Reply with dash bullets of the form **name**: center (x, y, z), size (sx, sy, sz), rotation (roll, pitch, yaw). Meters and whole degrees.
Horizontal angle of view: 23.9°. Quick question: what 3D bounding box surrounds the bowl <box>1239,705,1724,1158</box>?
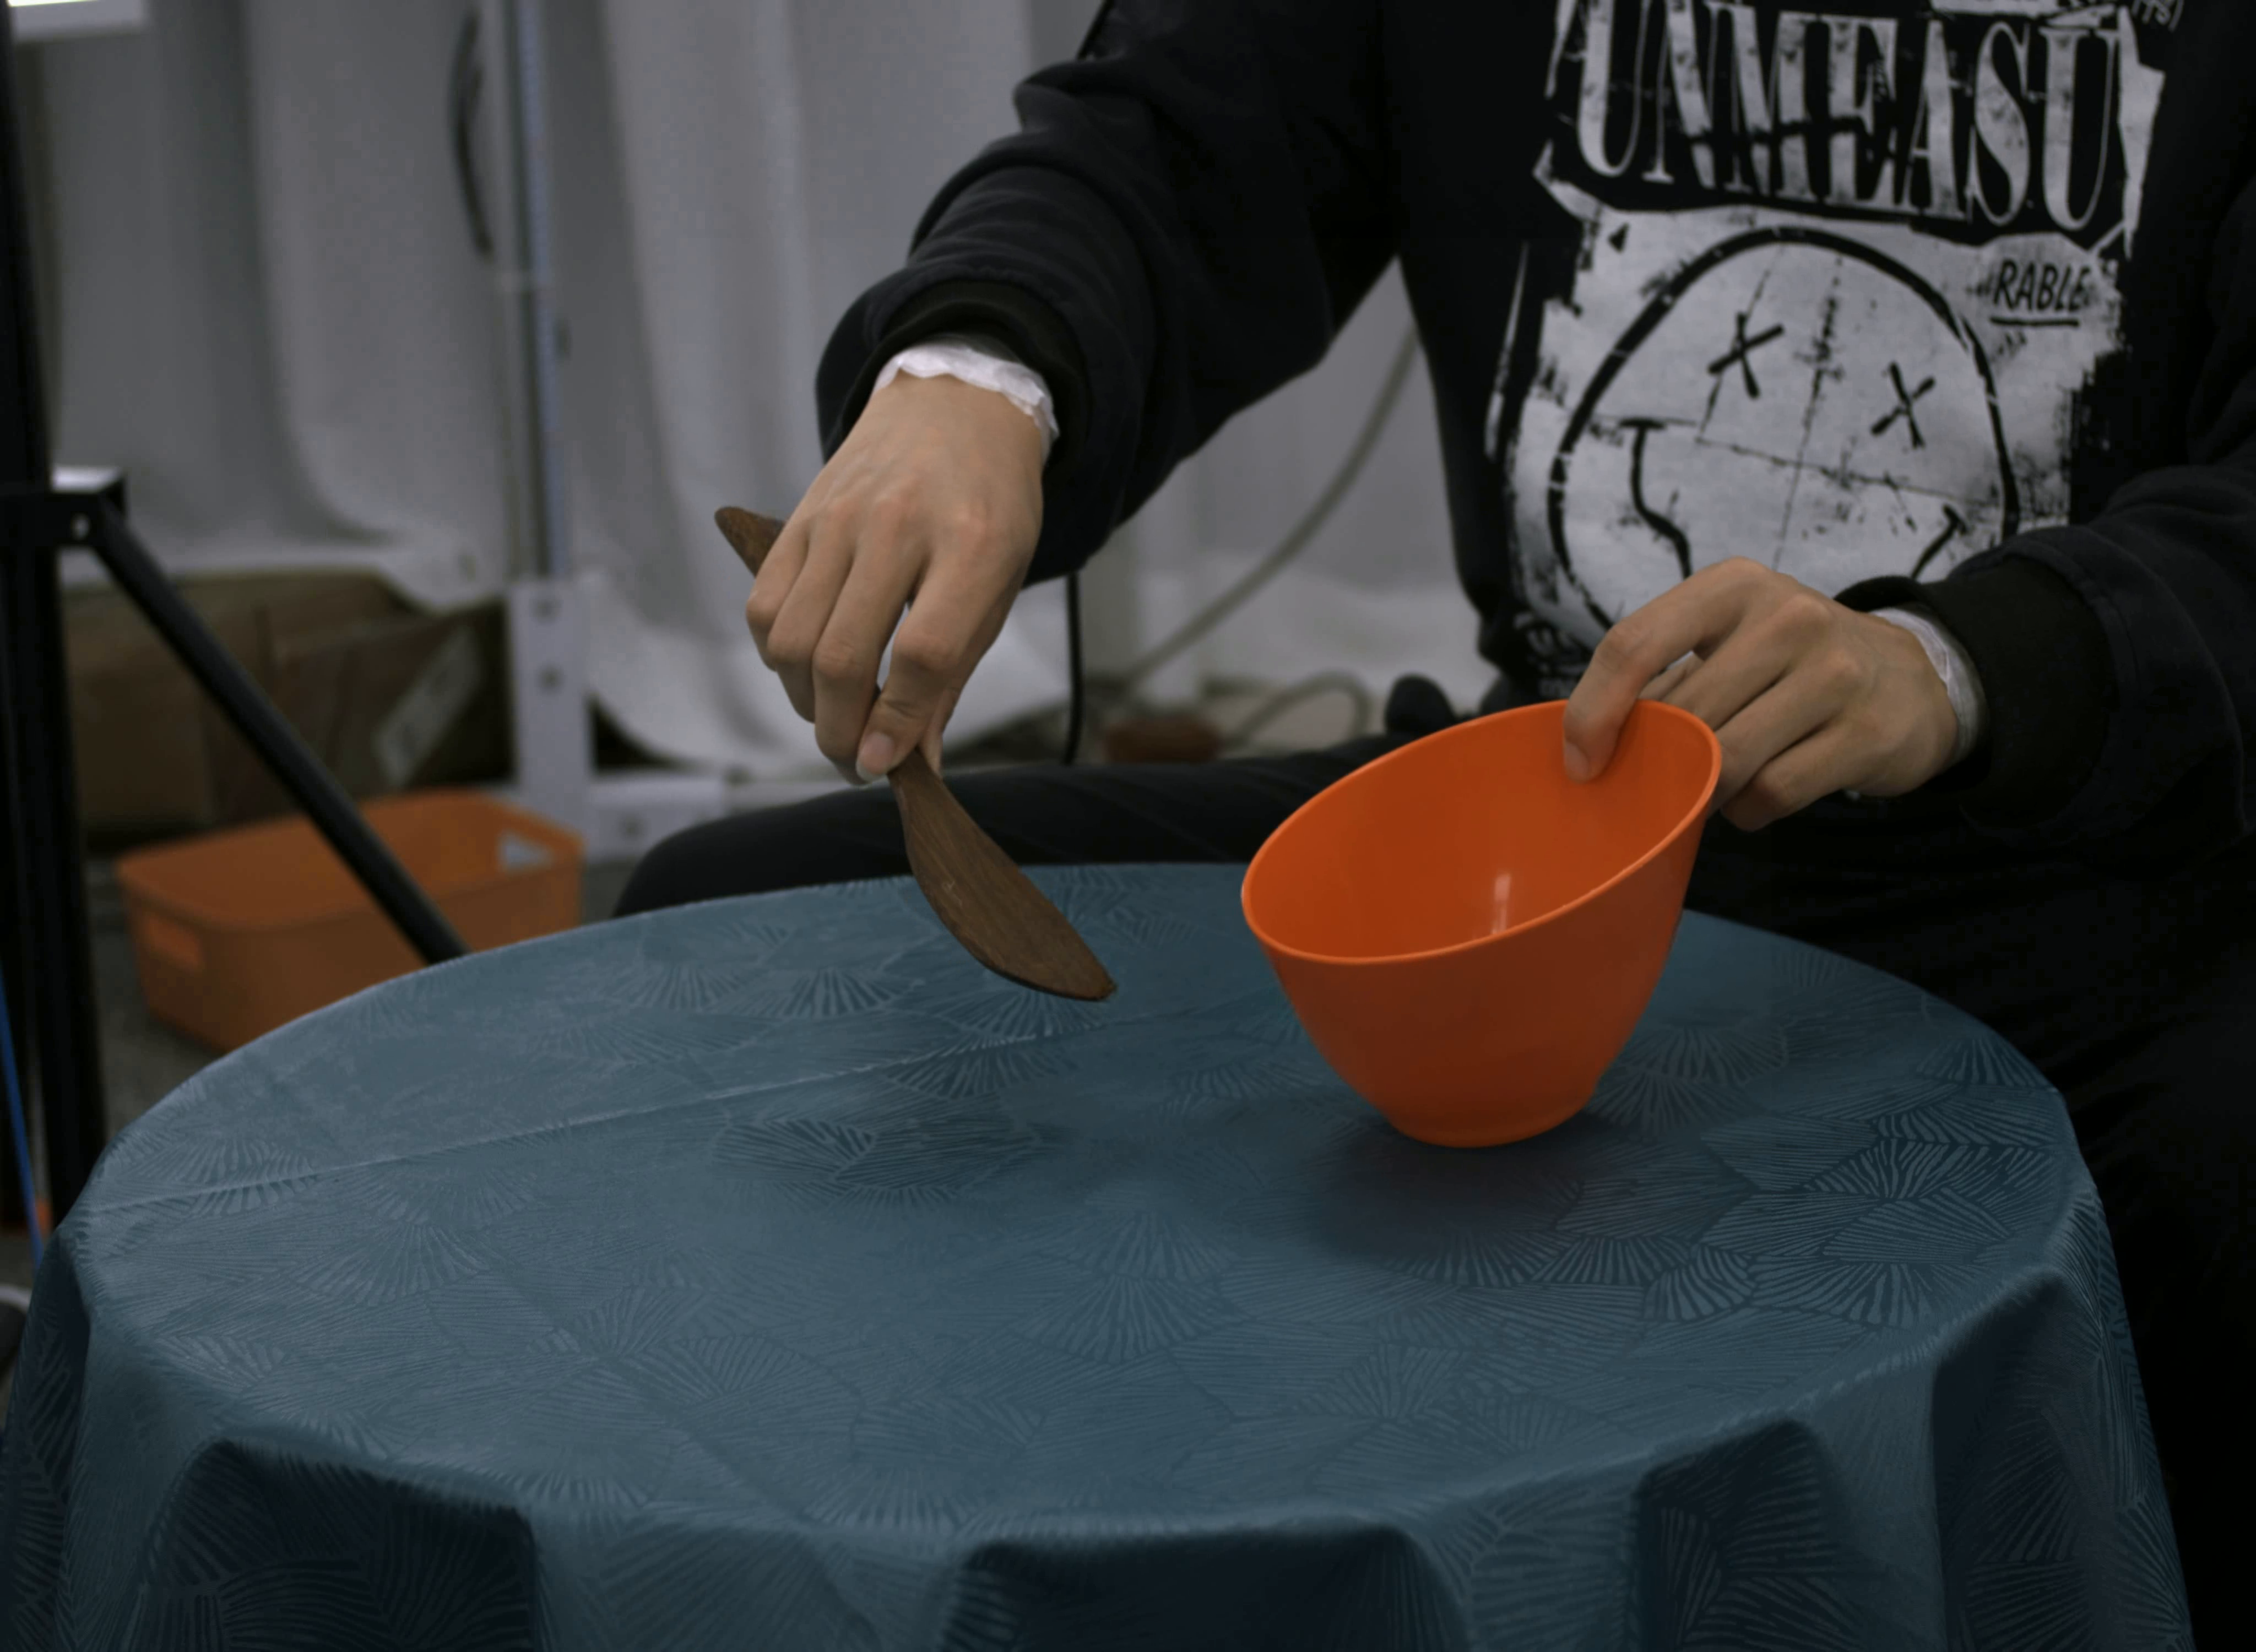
- **bowl**: center (0.110, 0.038, 1.575), size (0.148, 0.104, 0.149), rotation (-10, 27, 4)

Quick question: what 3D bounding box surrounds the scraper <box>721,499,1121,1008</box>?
- **scraper**: center (-0.070, -0.023, 1.631), size (0.074, 0.011, 0.215), rotation (21, 30, -55)
